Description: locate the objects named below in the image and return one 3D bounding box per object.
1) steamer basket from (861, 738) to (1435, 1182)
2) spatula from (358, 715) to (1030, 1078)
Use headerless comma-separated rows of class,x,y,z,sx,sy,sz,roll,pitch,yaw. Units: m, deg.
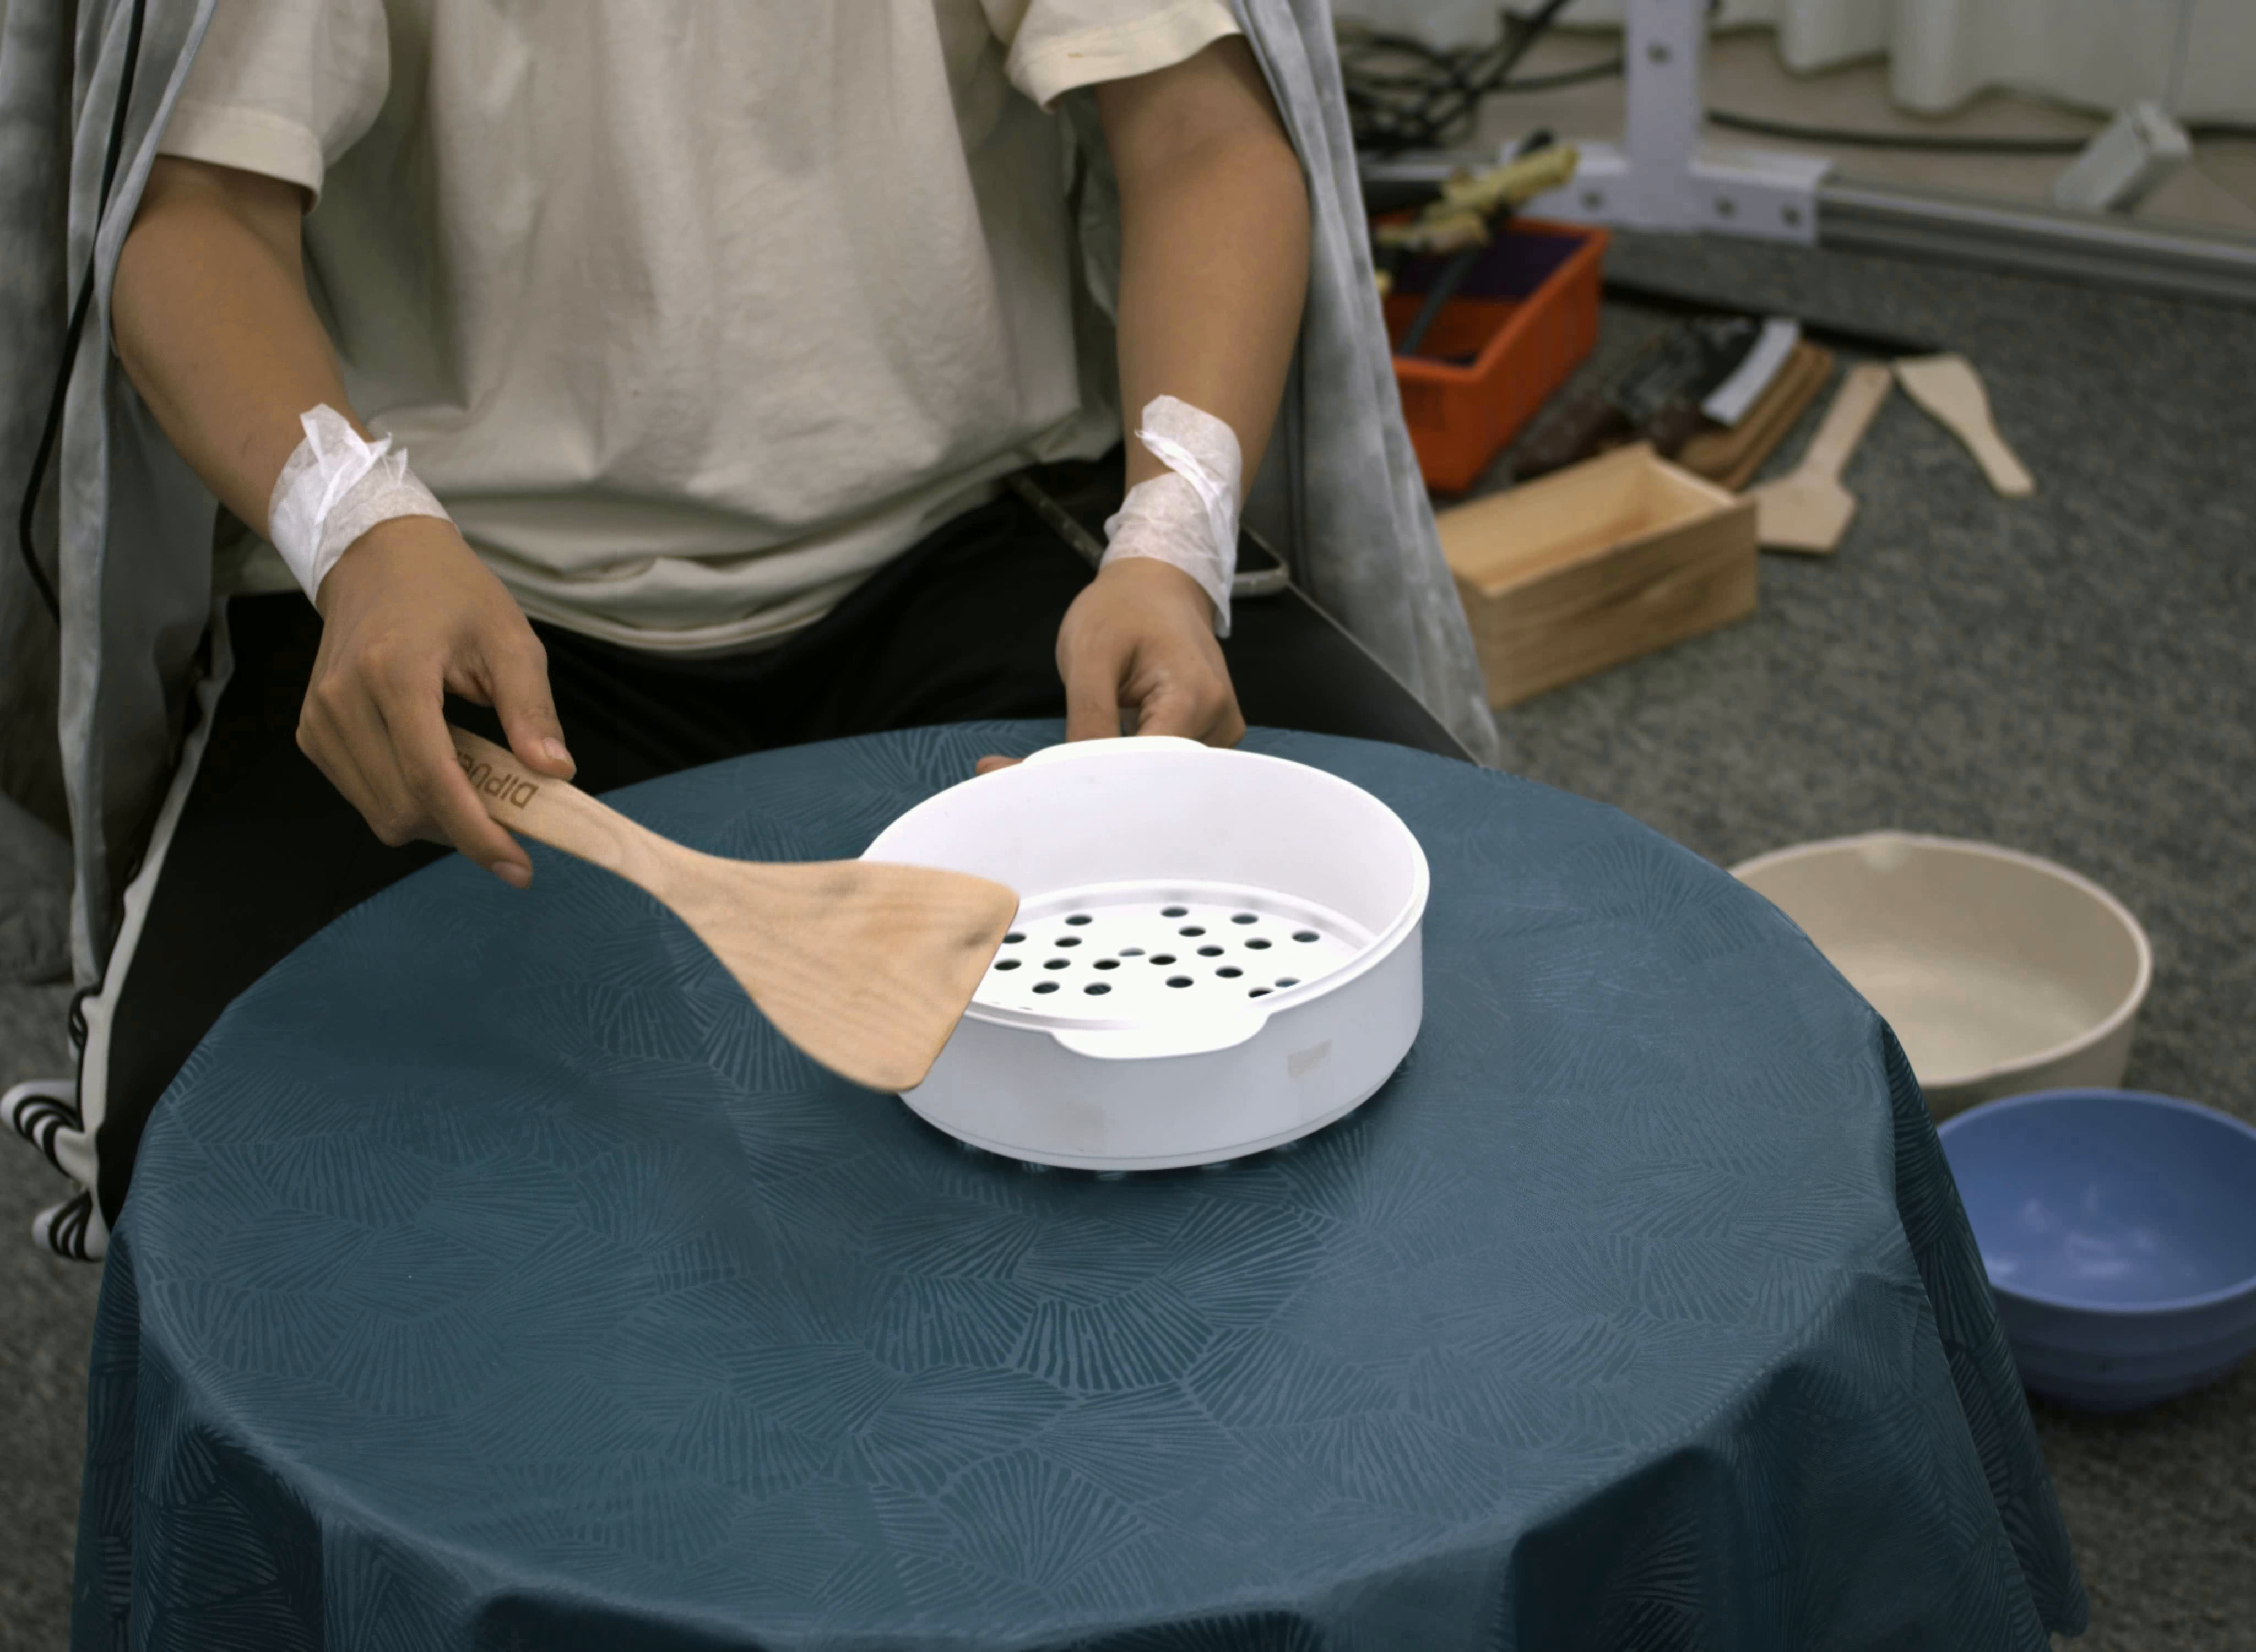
steamer basket,0.004,0.047,1.927,0.201,0.068,0.234,-2,28,-4
spatula,-0.153,0.010,1.869,0.327,0.016,0.081,20,70,41
